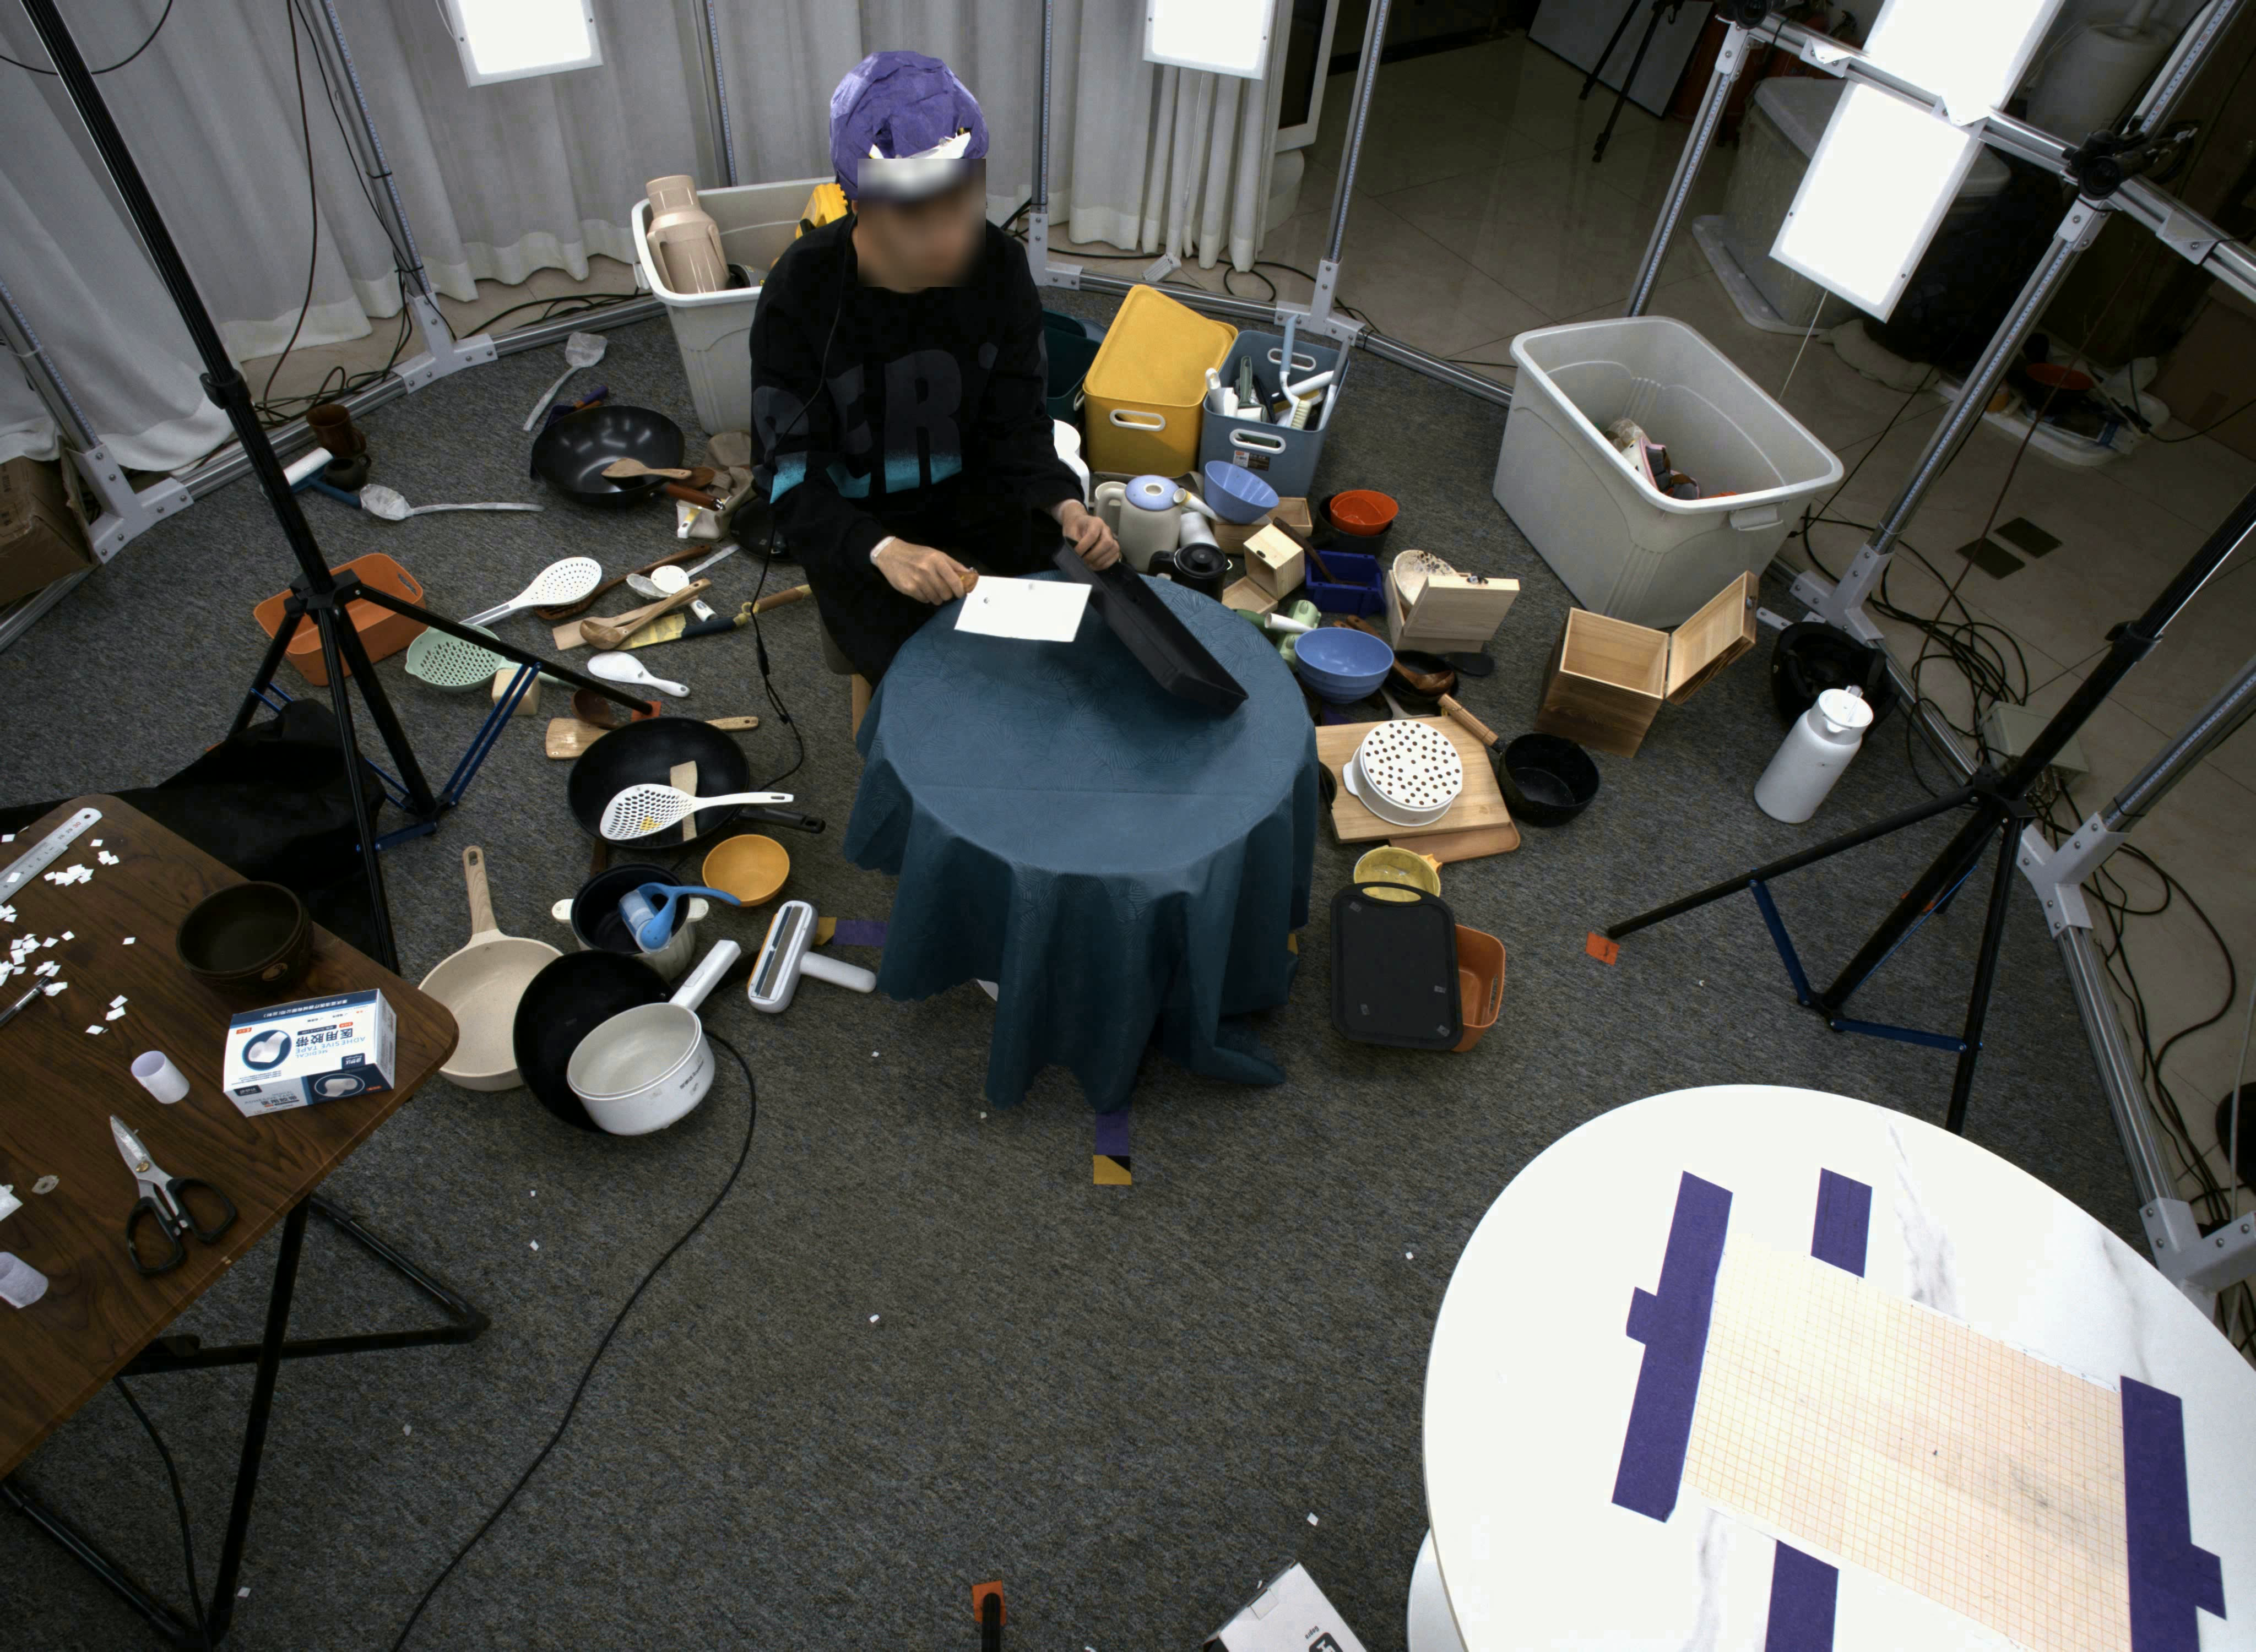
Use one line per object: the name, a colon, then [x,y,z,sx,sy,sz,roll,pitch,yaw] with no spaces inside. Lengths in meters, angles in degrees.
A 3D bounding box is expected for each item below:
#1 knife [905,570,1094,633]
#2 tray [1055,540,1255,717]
knife: [-0.191,-0.315,1.815,0.307,0.020,0.094,9,70,25]
tray: [0.036,-0.279,1.817,0.182,0.036,0.324,9,36,-53]
